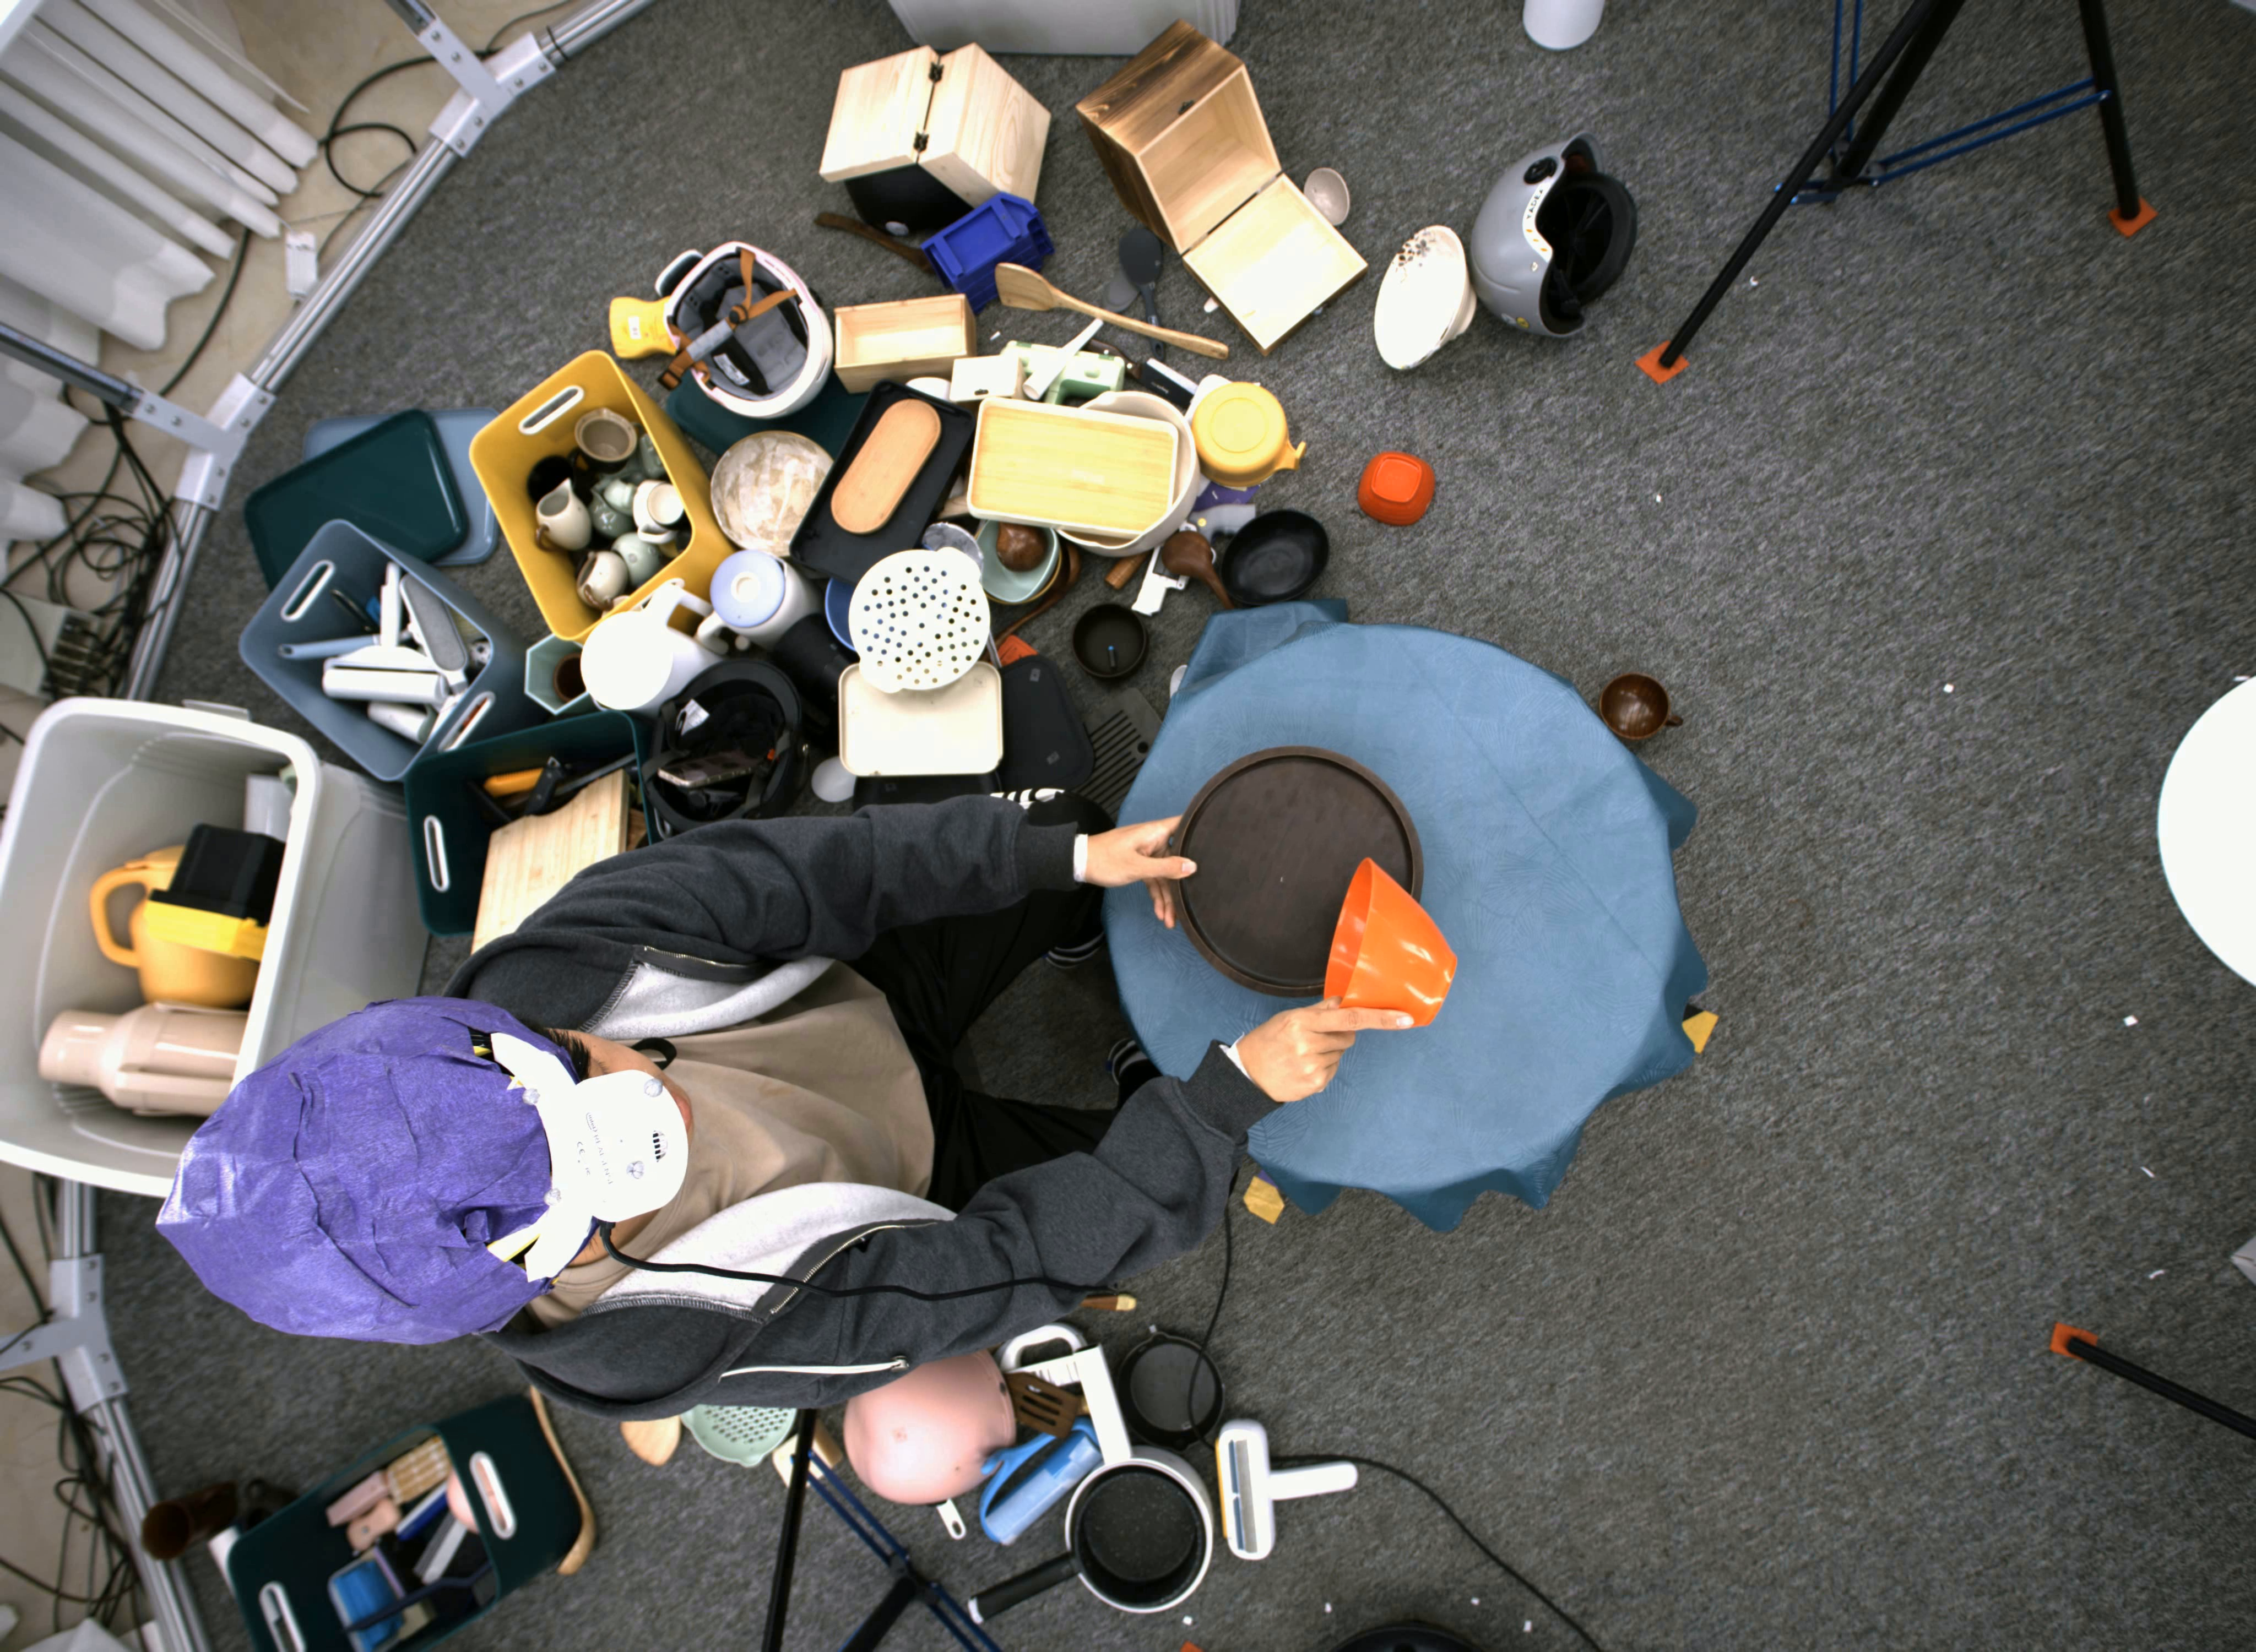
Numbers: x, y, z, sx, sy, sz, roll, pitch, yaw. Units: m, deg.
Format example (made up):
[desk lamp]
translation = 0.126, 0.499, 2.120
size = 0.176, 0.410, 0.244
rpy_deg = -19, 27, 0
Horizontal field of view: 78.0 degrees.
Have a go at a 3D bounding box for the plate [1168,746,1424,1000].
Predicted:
[plate]
translation = 0.167, 0.045, 1.383
size = 0.255, 0.029, 0.254
rpy_deg = 0, 89, 6

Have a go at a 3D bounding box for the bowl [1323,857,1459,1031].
[bowl]
translation = 0.232, 0.113, 1.212
size = 0.104, 0.148, 0.148
rpy_deg = 24, 89, 3
